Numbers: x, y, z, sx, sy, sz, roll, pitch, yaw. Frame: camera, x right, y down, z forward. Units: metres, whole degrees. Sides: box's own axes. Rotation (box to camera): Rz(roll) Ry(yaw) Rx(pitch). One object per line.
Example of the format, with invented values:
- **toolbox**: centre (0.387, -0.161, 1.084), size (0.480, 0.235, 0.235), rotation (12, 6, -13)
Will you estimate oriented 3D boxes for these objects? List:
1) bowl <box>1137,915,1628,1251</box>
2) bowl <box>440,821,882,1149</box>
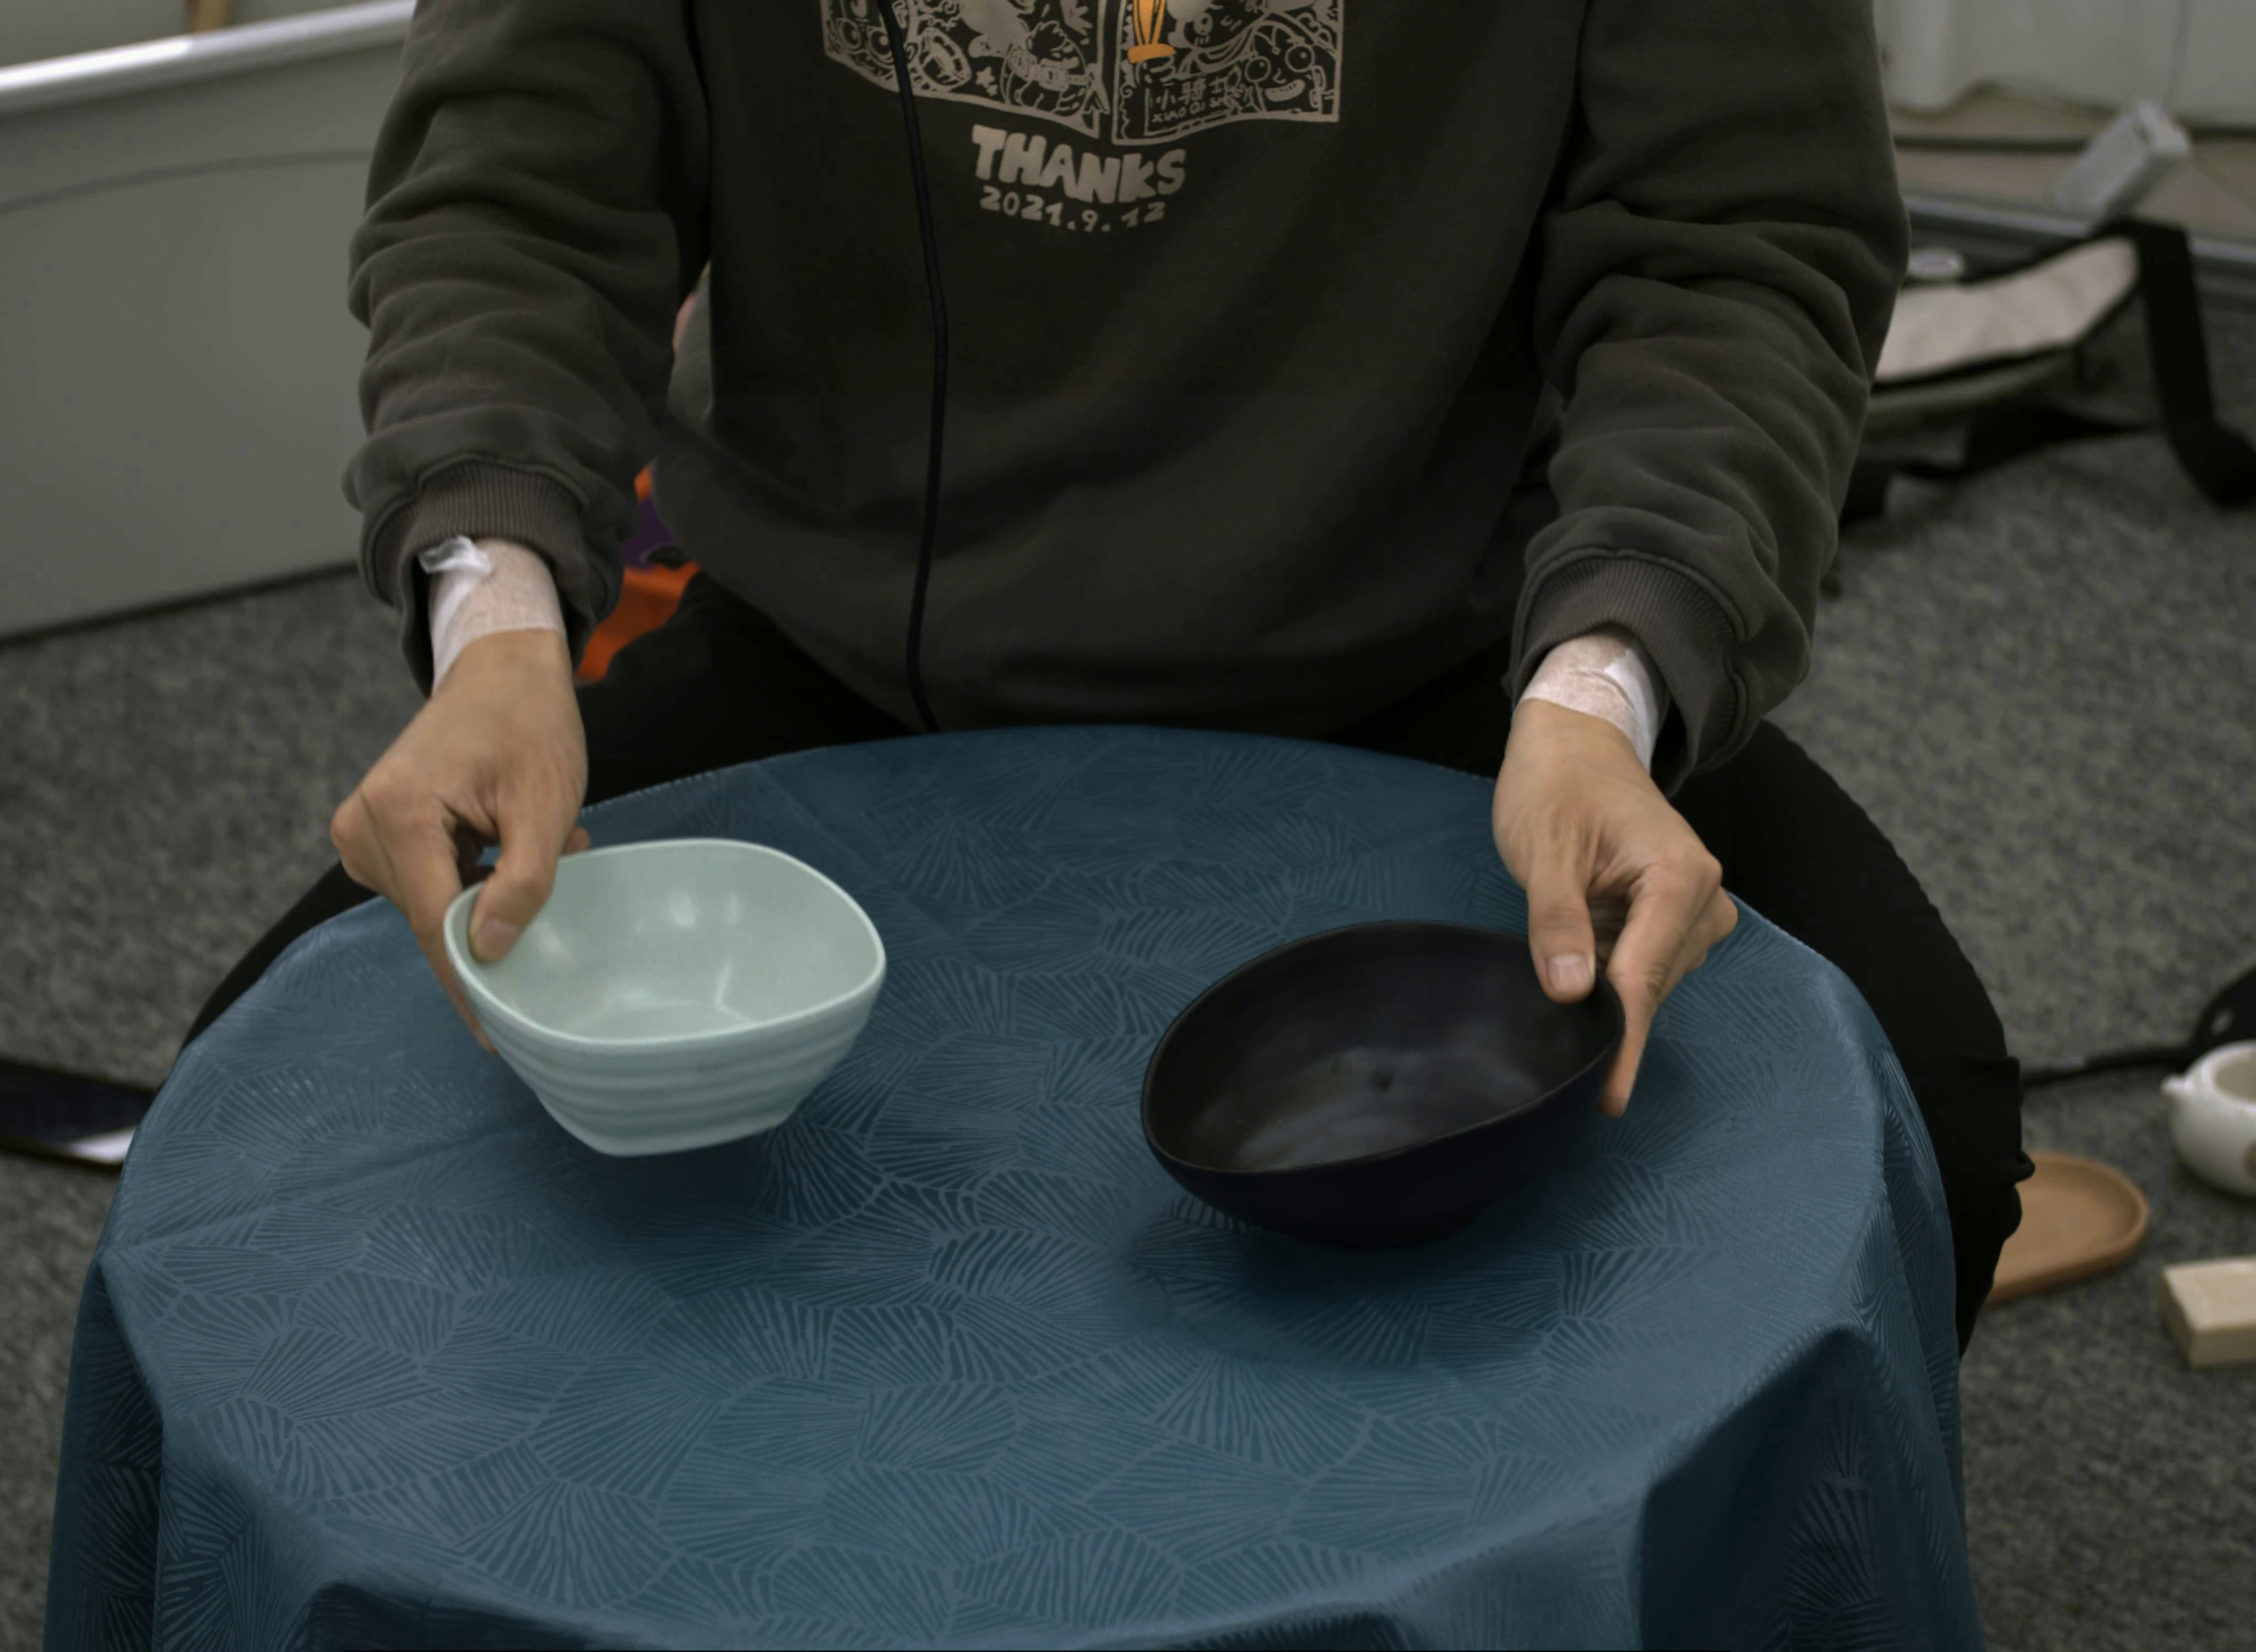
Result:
- **bowl**: centre (0.085, 0.095, 1.835), size (0.171, 0.066, 0.137), rotation (-22, 32, -27)
- **bowl**: centre (-0.155, 0.059, 1.864), size (0.151, 0.058, 0.154), rotation (3, 28, -1)
